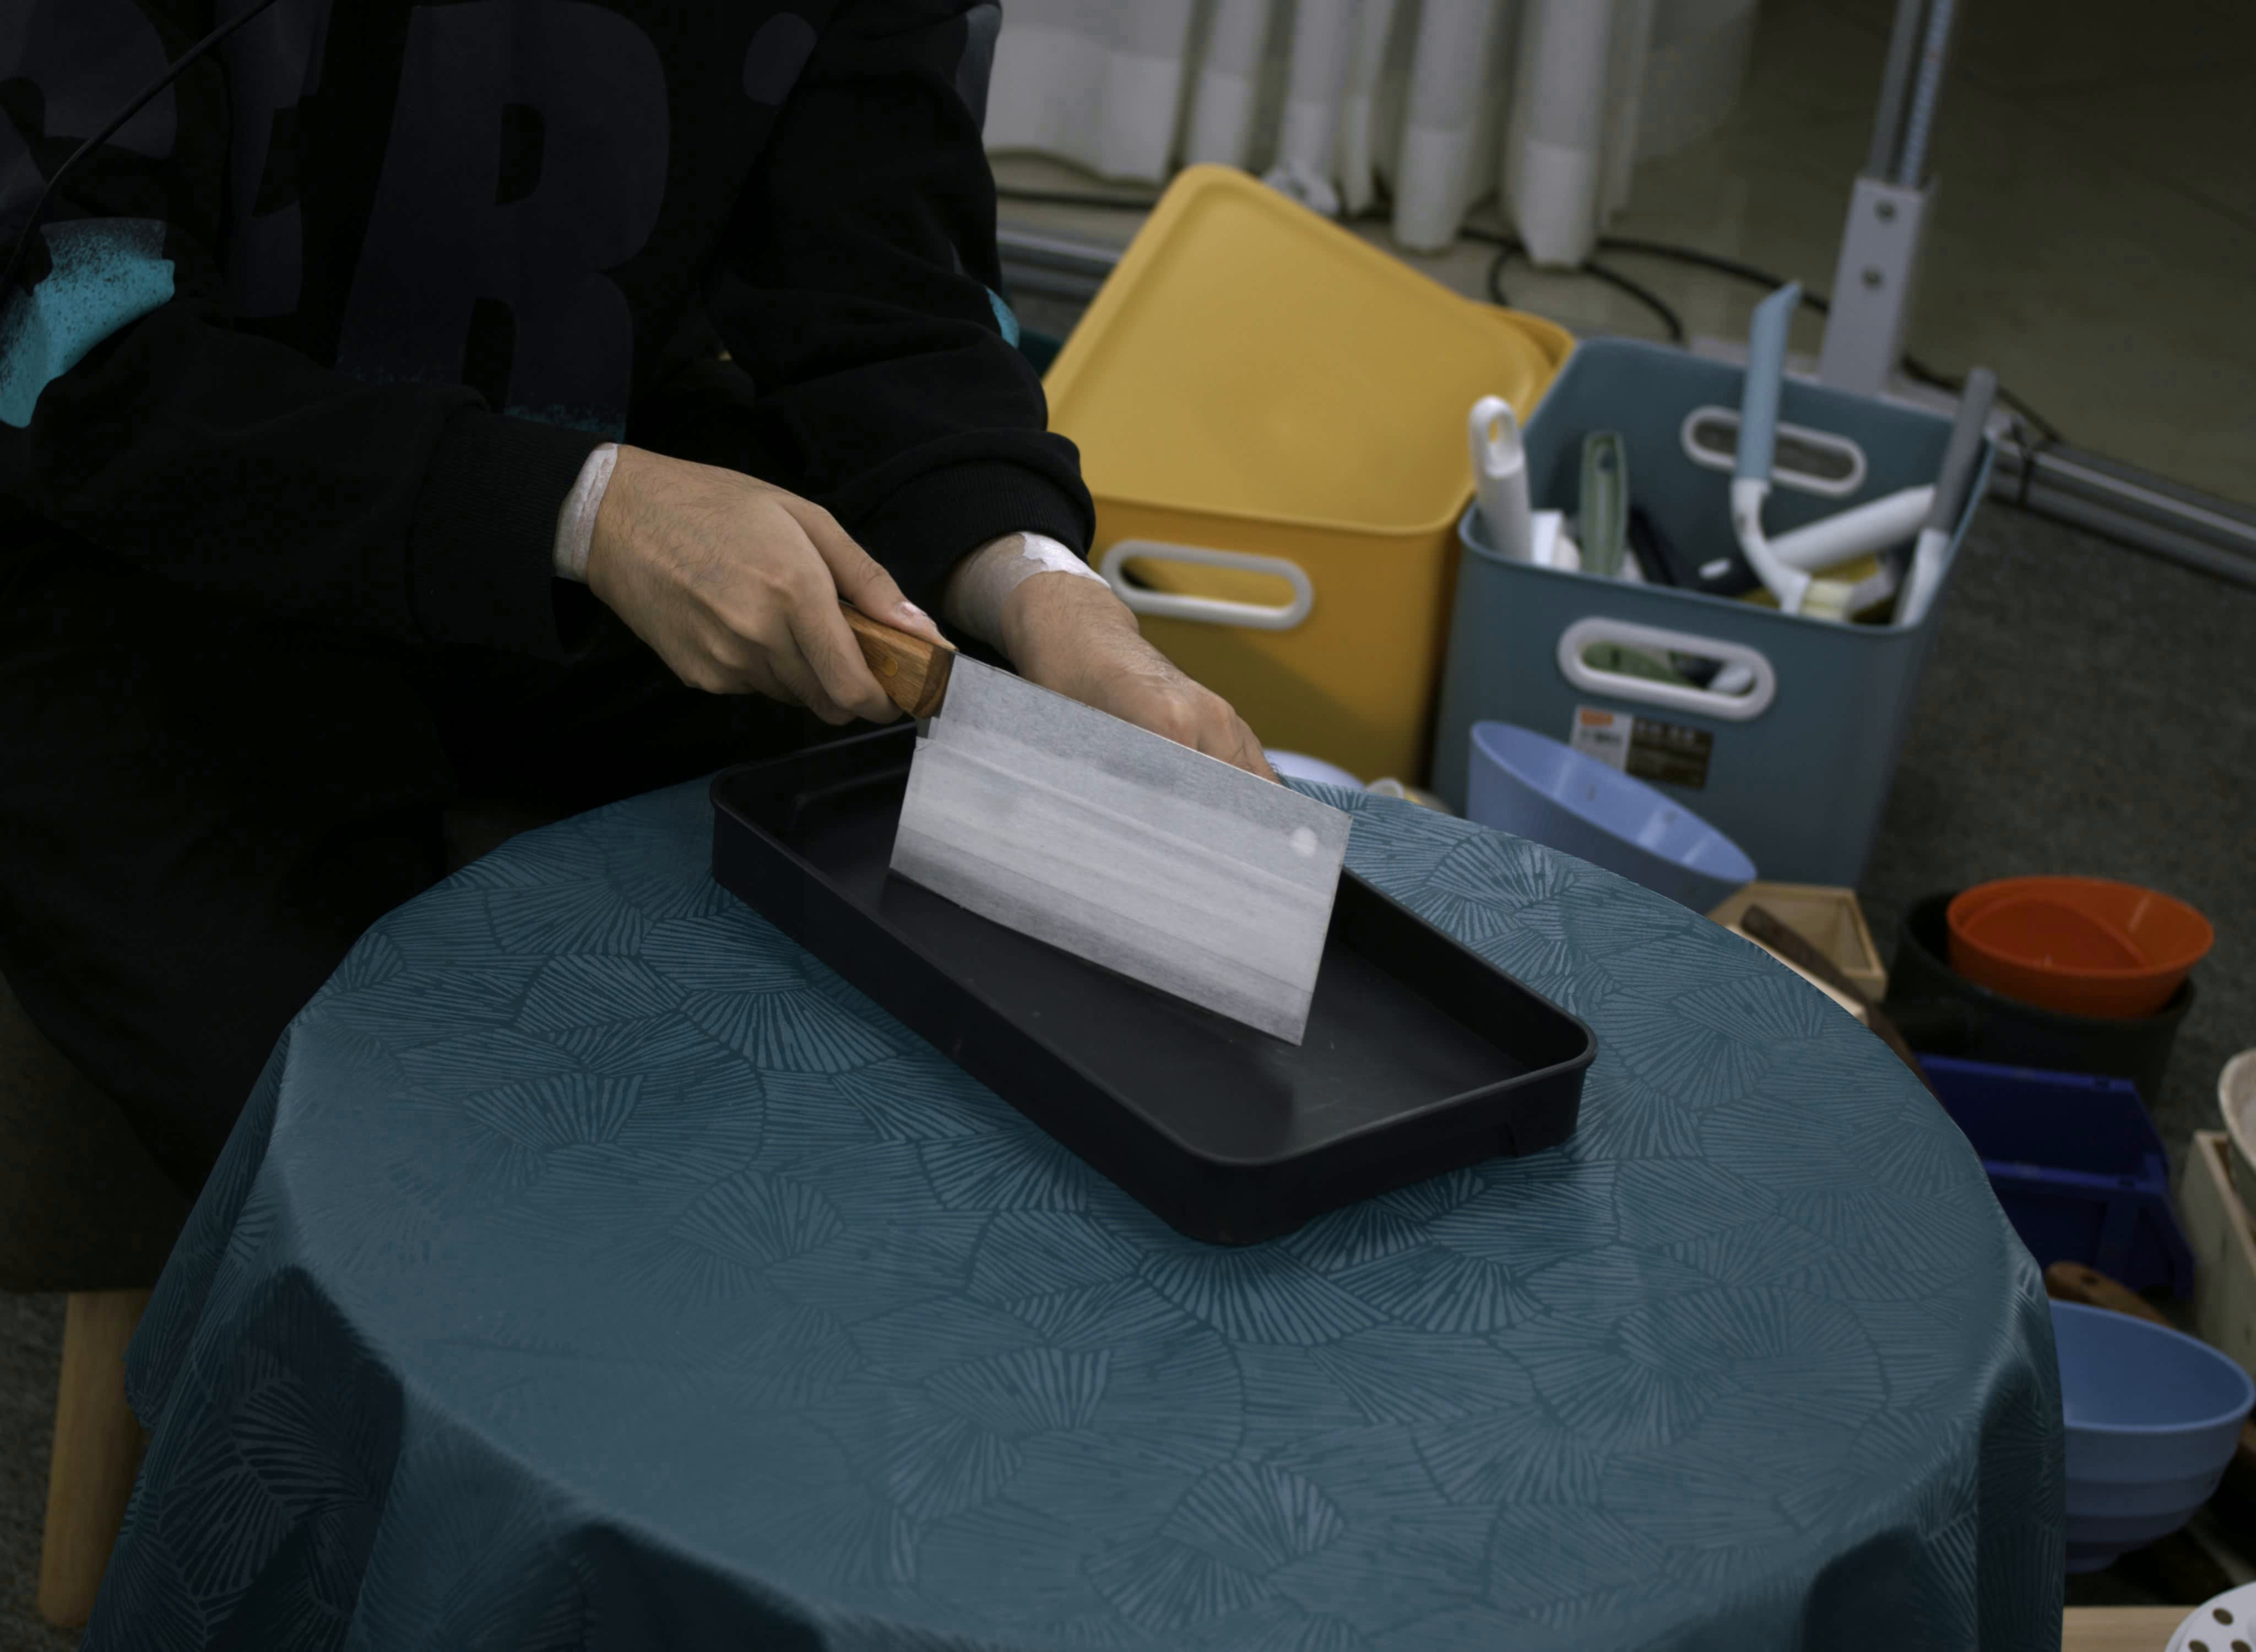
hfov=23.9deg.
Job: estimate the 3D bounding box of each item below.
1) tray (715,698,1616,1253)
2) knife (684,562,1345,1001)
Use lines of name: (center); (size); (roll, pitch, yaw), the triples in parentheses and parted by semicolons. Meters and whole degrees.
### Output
tray: (0.008, 0.048, 1.913); (0.183, 0.037, 0.320); (-16, 35, -37)
knife: (-0.049, -0.015, 1.946); (0.308, 0.093, 0.021); (23, 20, 32)
